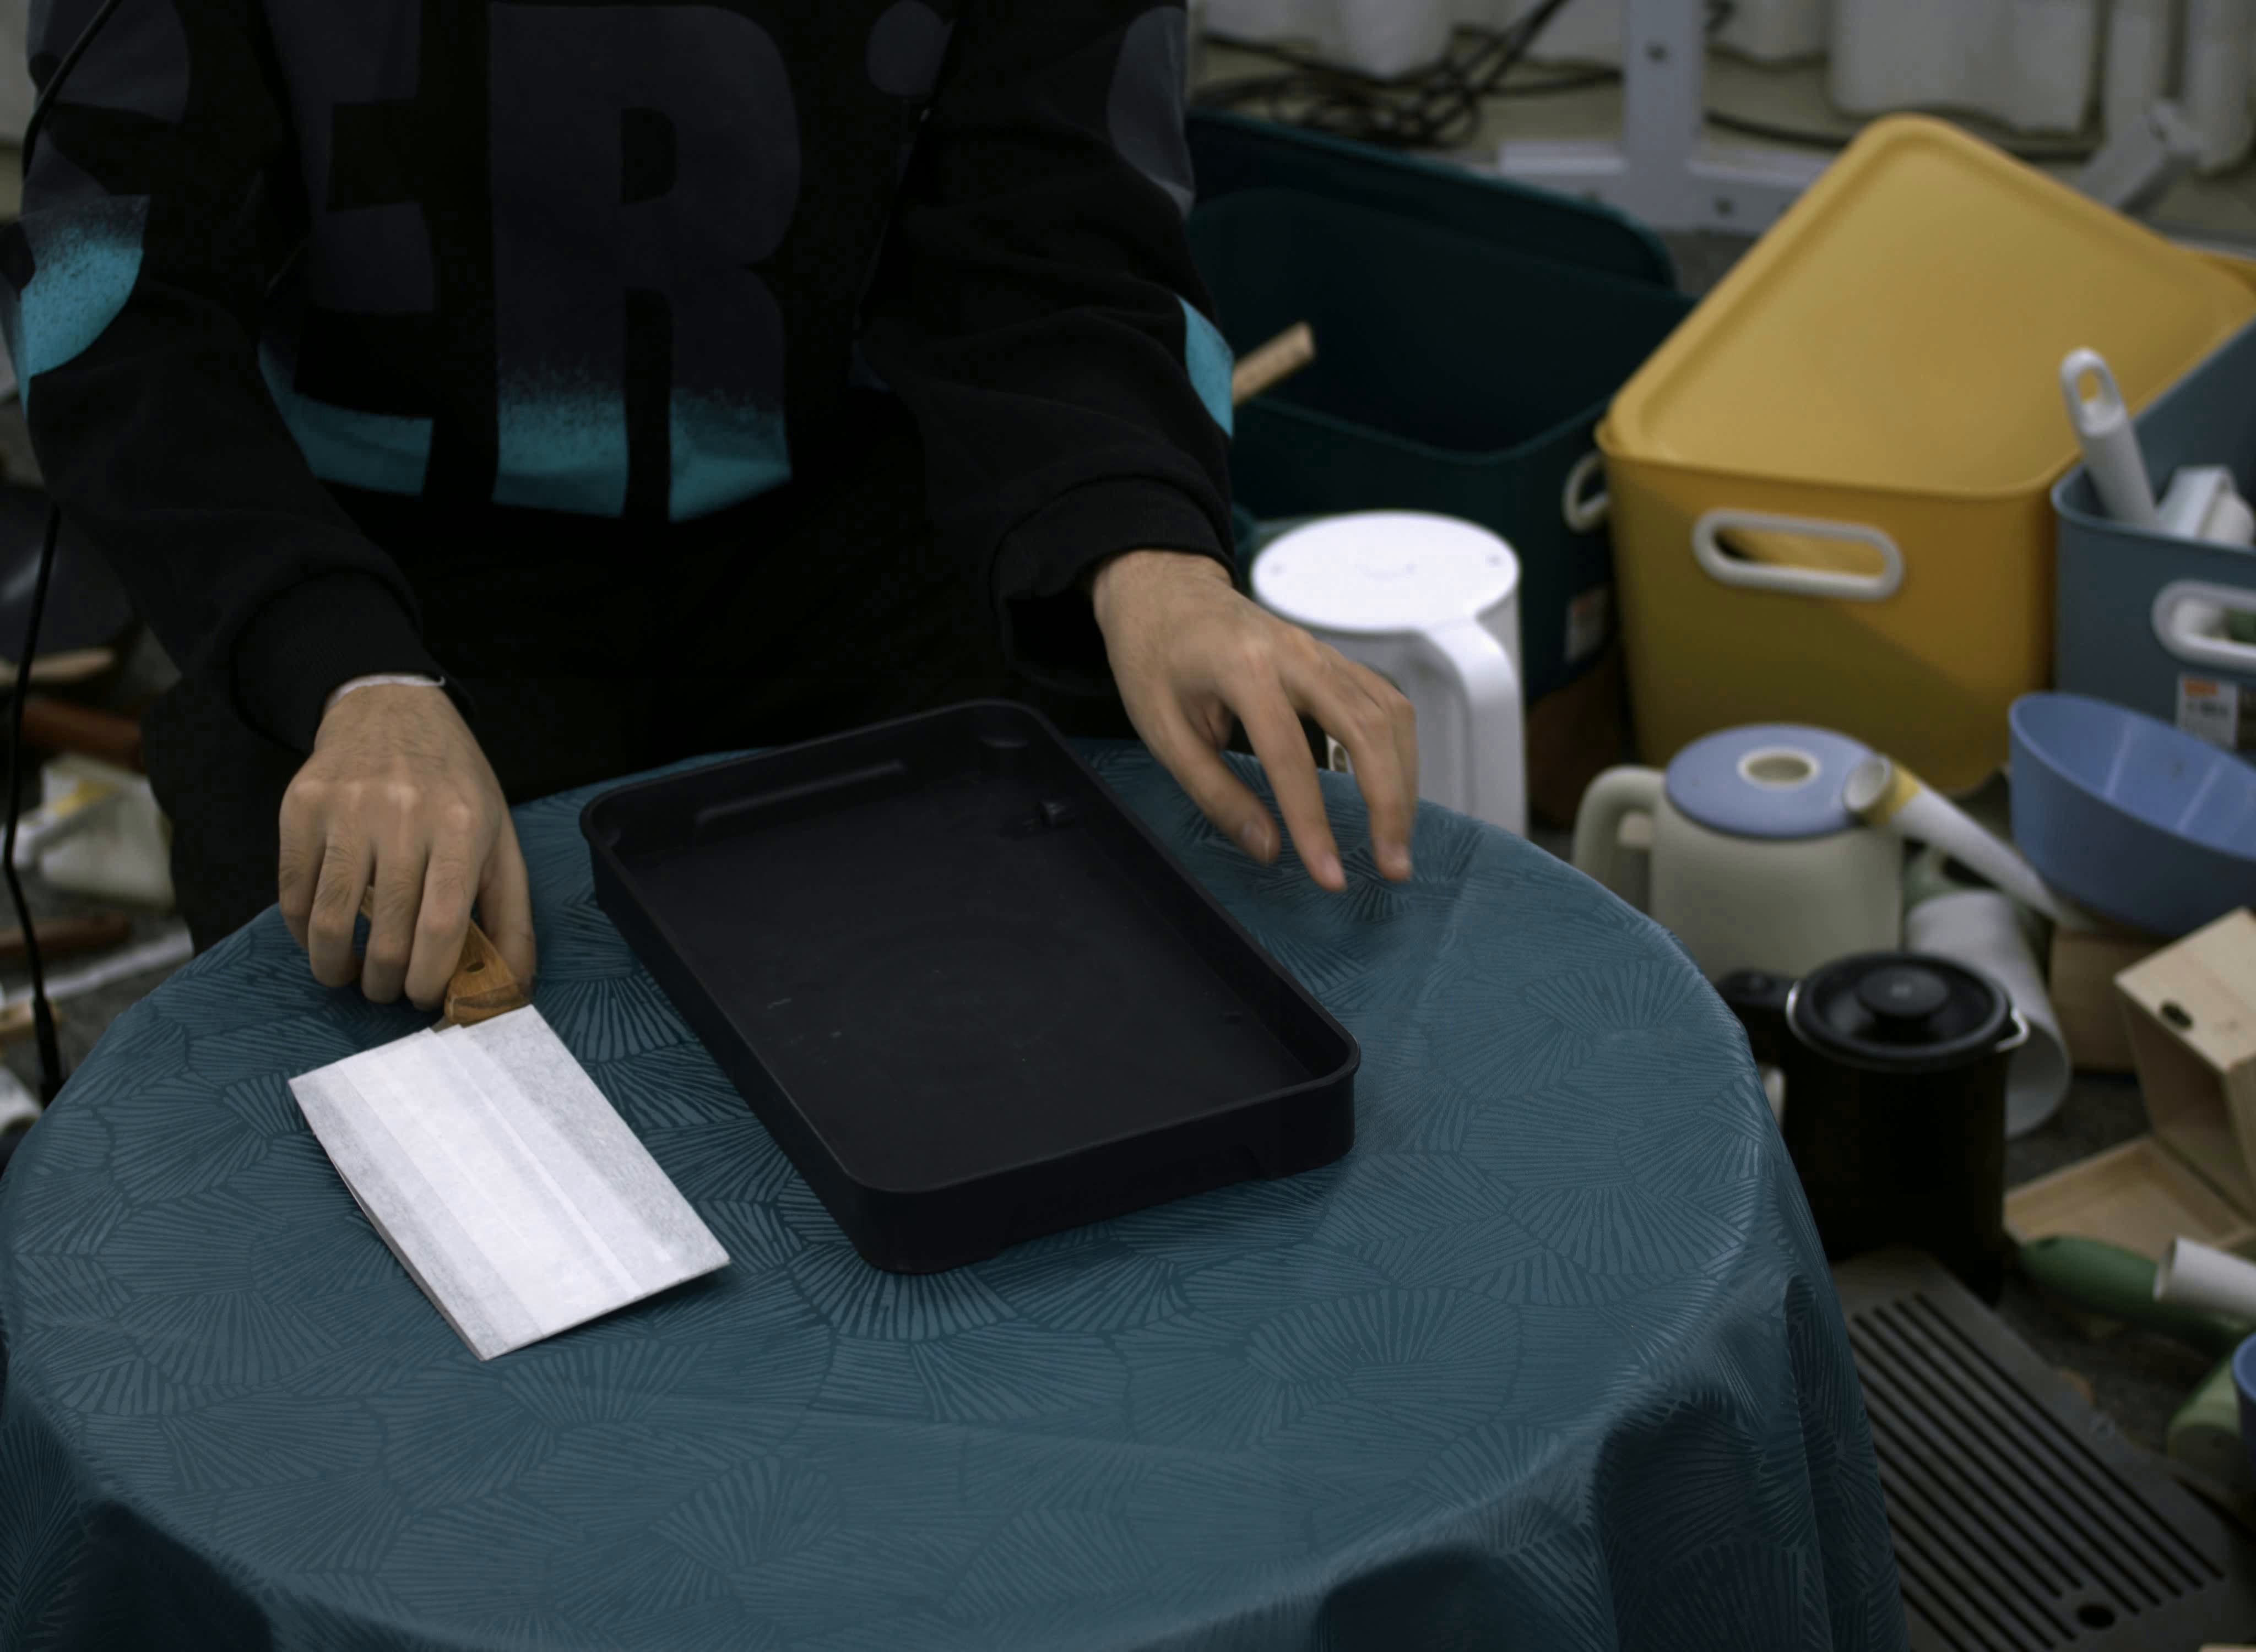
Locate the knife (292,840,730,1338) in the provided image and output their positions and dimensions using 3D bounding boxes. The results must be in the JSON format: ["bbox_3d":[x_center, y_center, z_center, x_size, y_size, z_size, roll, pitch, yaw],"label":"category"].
[{"bbox_3d":[-0.233,0.090,1.922,0.093,0.021,0.308,-20,34,-19],"label":"knife"}]

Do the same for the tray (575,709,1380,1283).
[{"bbox_3d":[-0.058,0.053,1.962,0.185,0.036,0.320,-15,29,-21],"label":"tray"}]
